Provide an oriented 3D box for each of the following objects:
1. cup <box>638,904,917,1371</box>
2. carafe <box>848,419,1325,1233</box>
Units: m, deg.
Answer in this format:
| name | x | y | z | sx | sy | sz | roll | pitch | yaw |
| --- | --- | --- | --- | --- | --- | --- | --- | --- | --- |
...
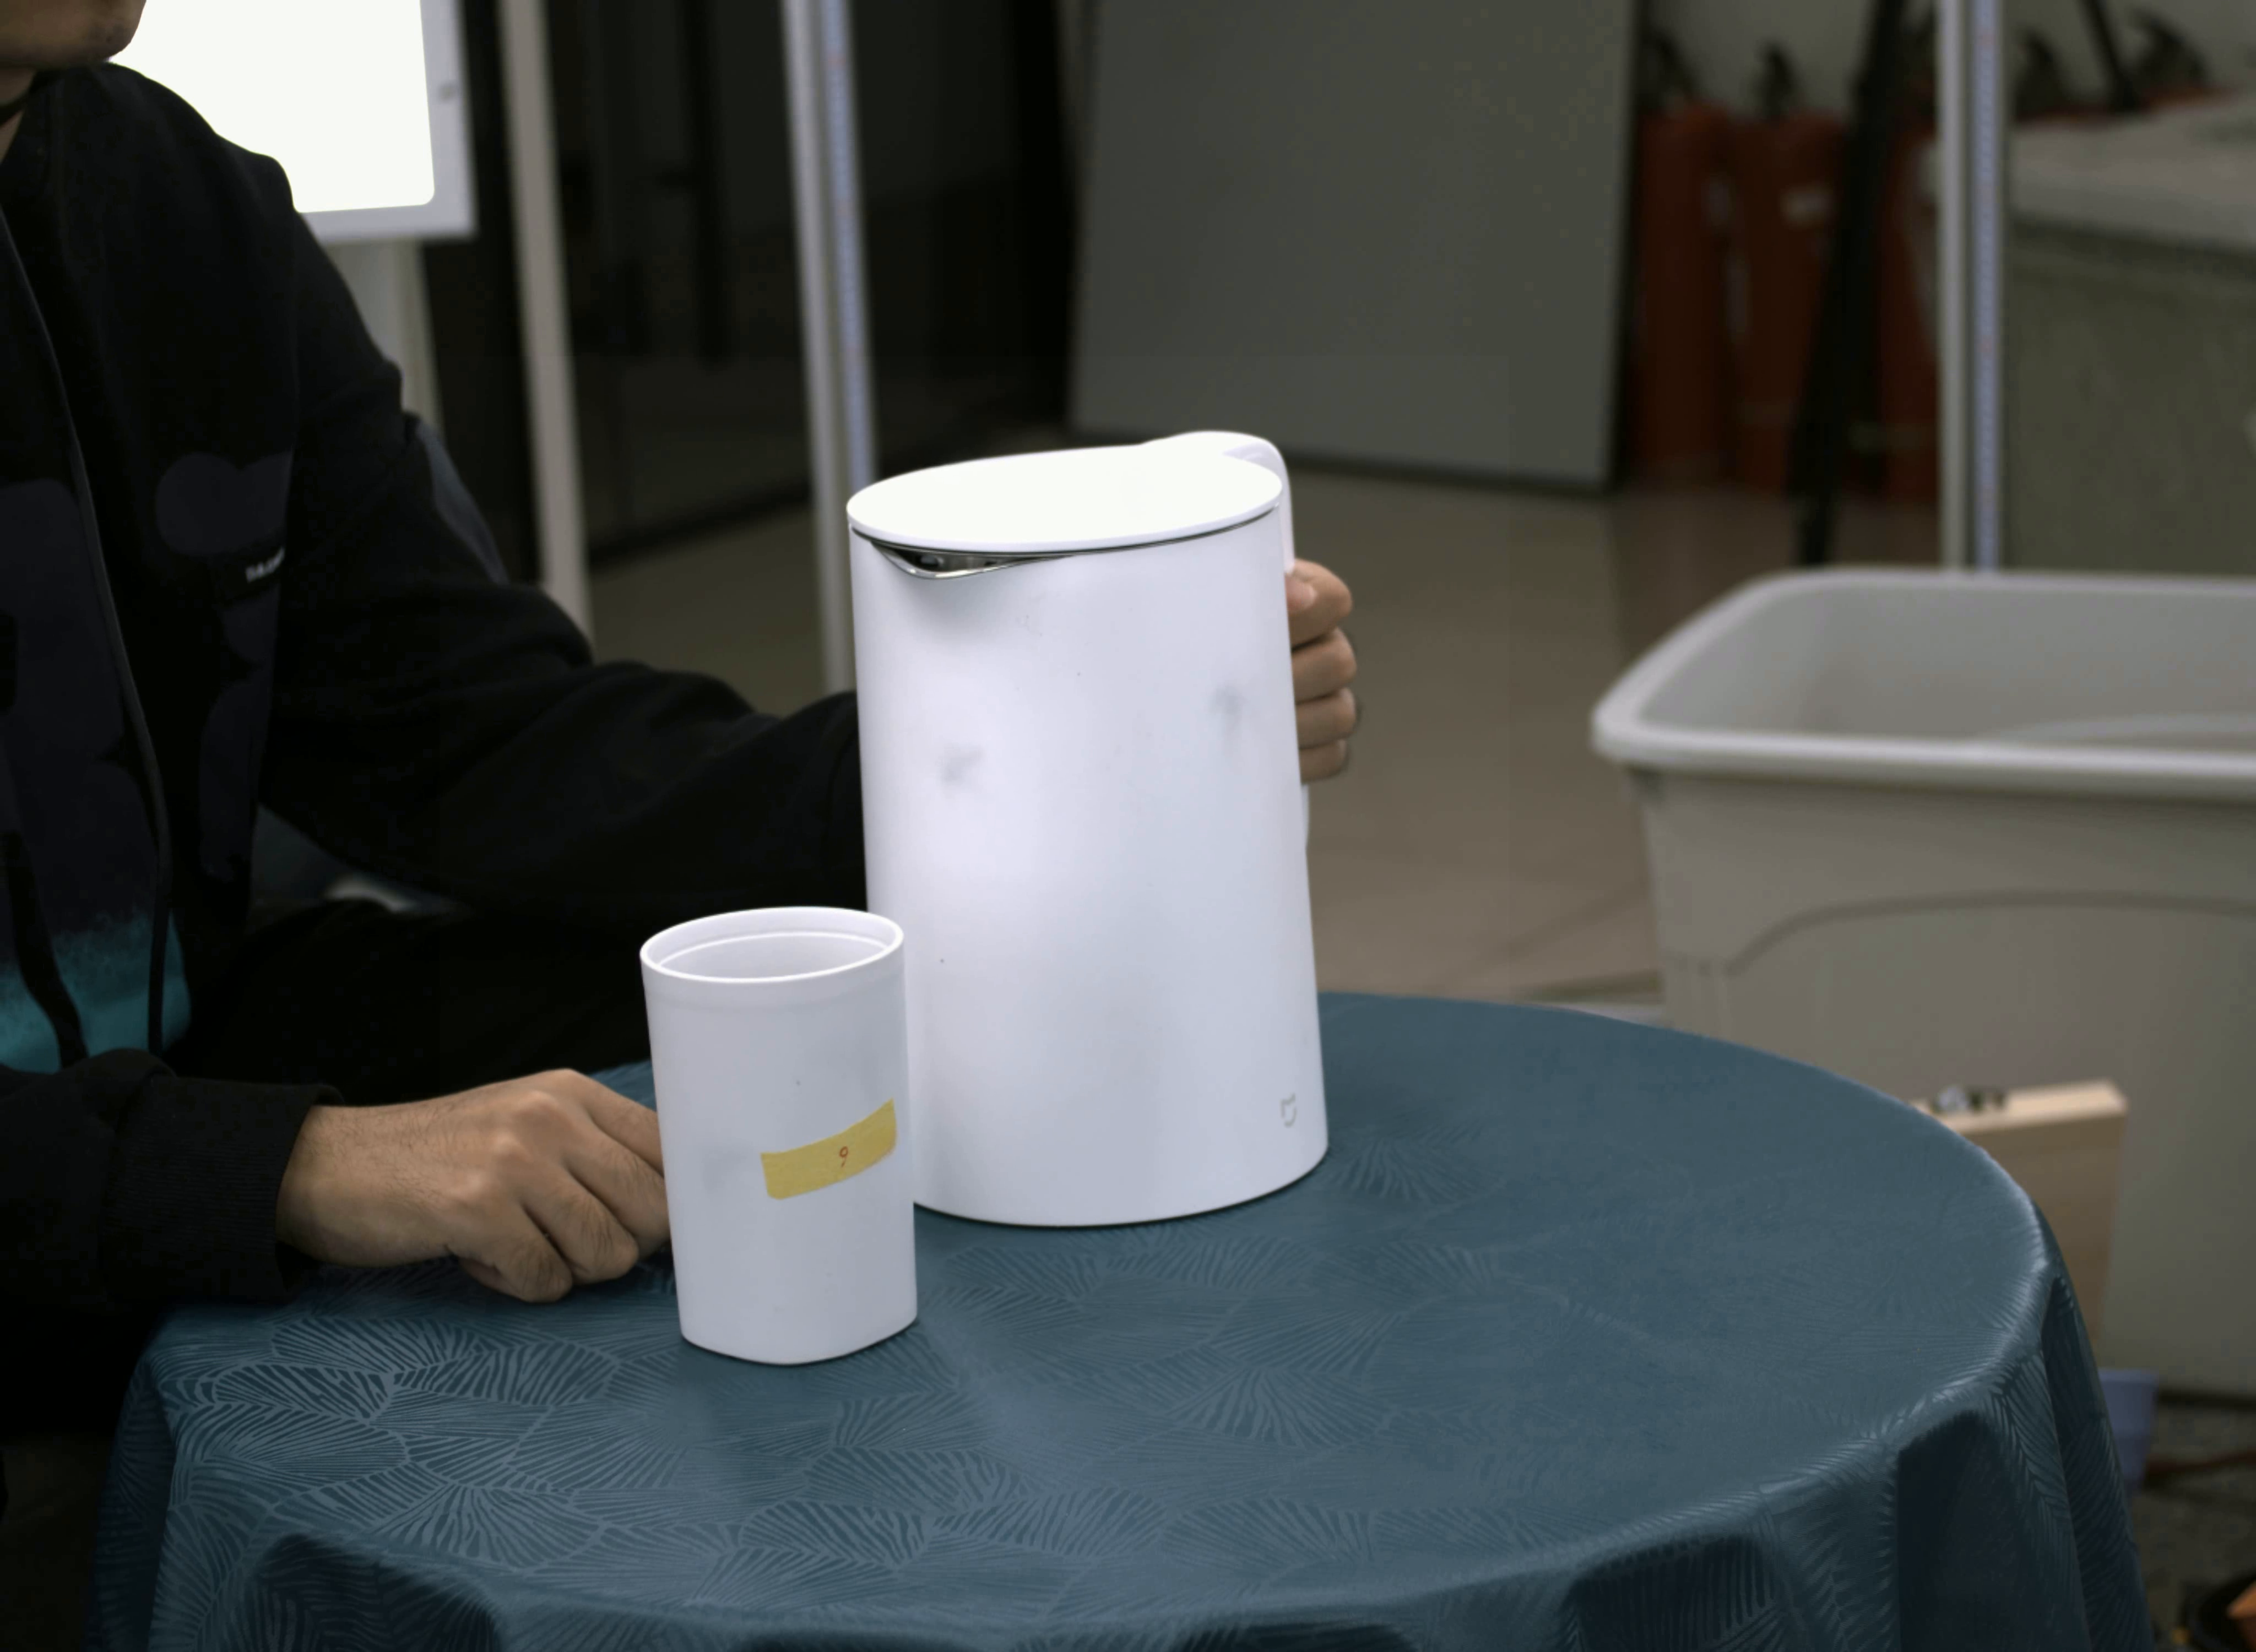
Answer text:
| name | x | y | z | sx | sy | sz | roll | pitch | yaw |
| --- | --- | --- | --- | --- | --- | --- | --- | --- | --- |
| cup | -0.104 | 0.095 | 1.647 | 0.080 | 0.127 | 0.082 | -4 | 13 | 0 |
| carafe | 0.000 | -0.006 | 1.799 | 0.153 | 0.243 | 0.210 | 6 | 18 | 31 |
